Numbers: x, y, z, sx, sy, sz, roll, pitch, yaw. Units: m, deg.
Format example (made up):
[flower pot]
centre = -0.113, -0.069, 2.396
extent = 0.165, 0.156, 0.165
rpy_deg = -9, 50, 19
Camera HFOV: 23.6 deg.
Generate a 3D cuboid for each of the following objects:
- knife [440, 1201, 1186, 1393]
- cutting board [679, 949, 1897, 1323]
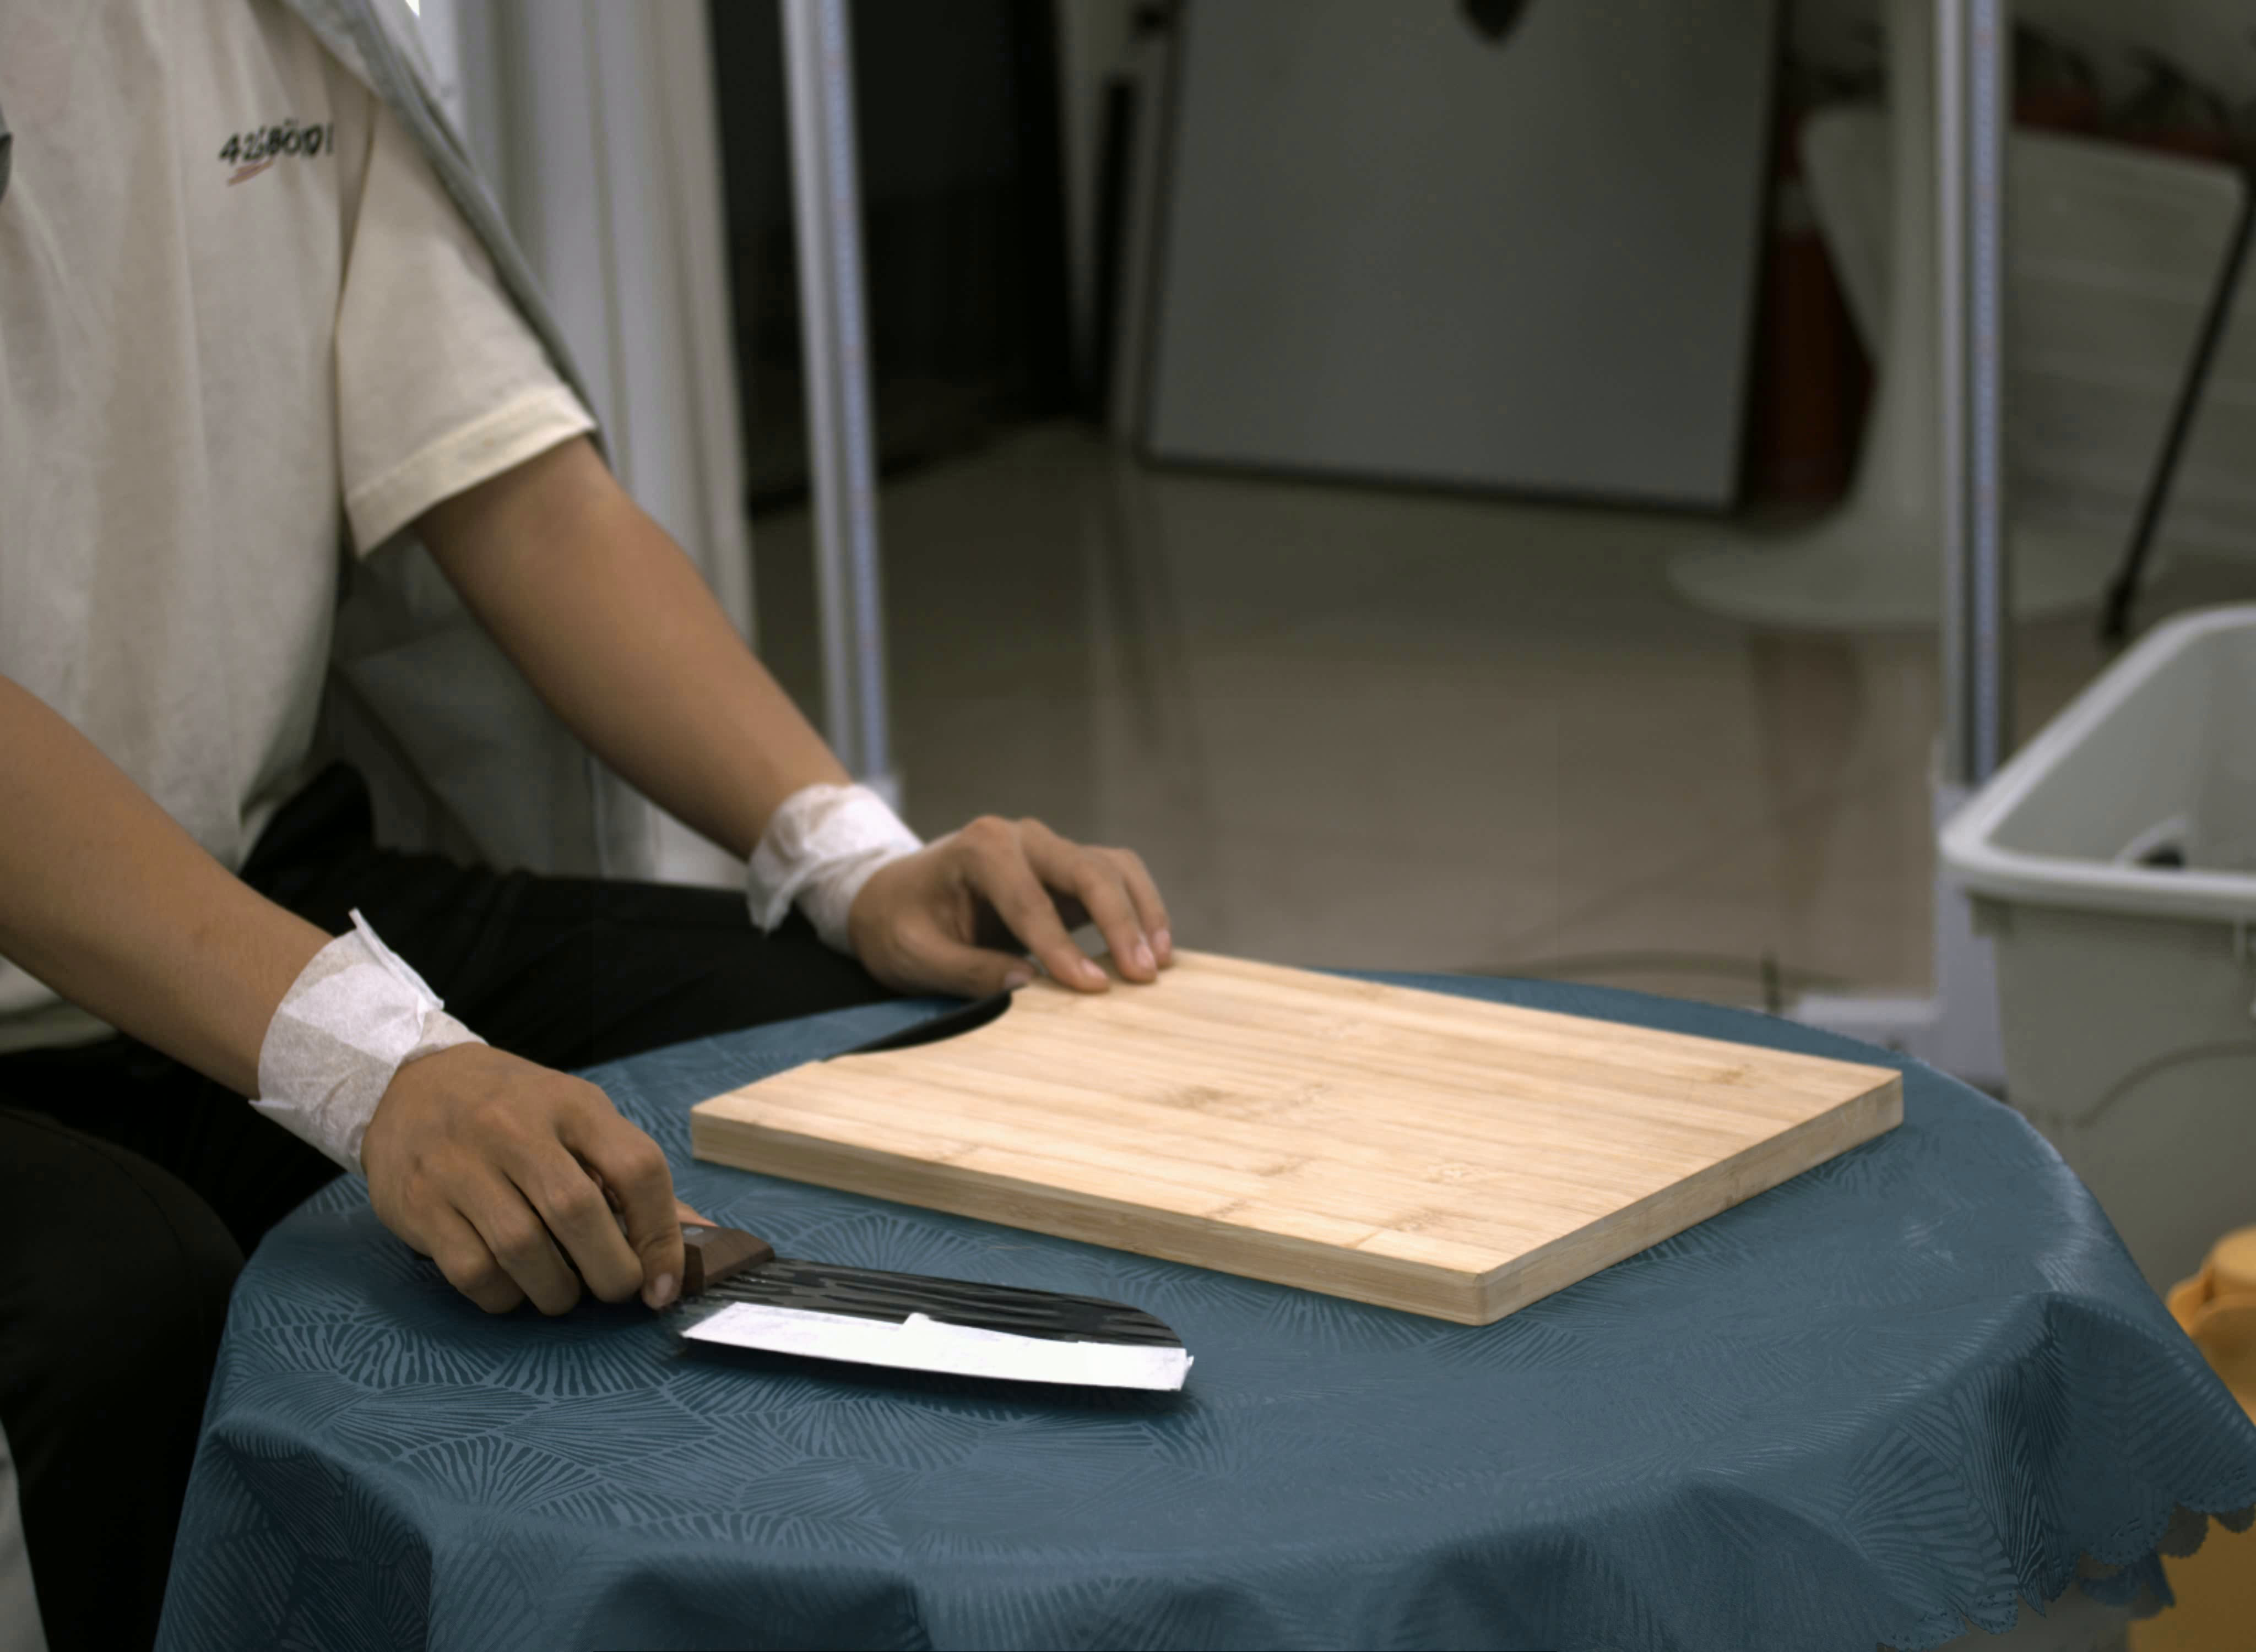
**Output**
[knife]
centre = -0.104, 0.147, 1.652
extent = 0.301, 0.024, 0.067
rpy_deg = 5, 17, 32
[cutting board]
centre = 0.051, 0.099, 1.818
extent = 0.351, 0.024, 0.246
rpy_deg = 7, 18, 40
